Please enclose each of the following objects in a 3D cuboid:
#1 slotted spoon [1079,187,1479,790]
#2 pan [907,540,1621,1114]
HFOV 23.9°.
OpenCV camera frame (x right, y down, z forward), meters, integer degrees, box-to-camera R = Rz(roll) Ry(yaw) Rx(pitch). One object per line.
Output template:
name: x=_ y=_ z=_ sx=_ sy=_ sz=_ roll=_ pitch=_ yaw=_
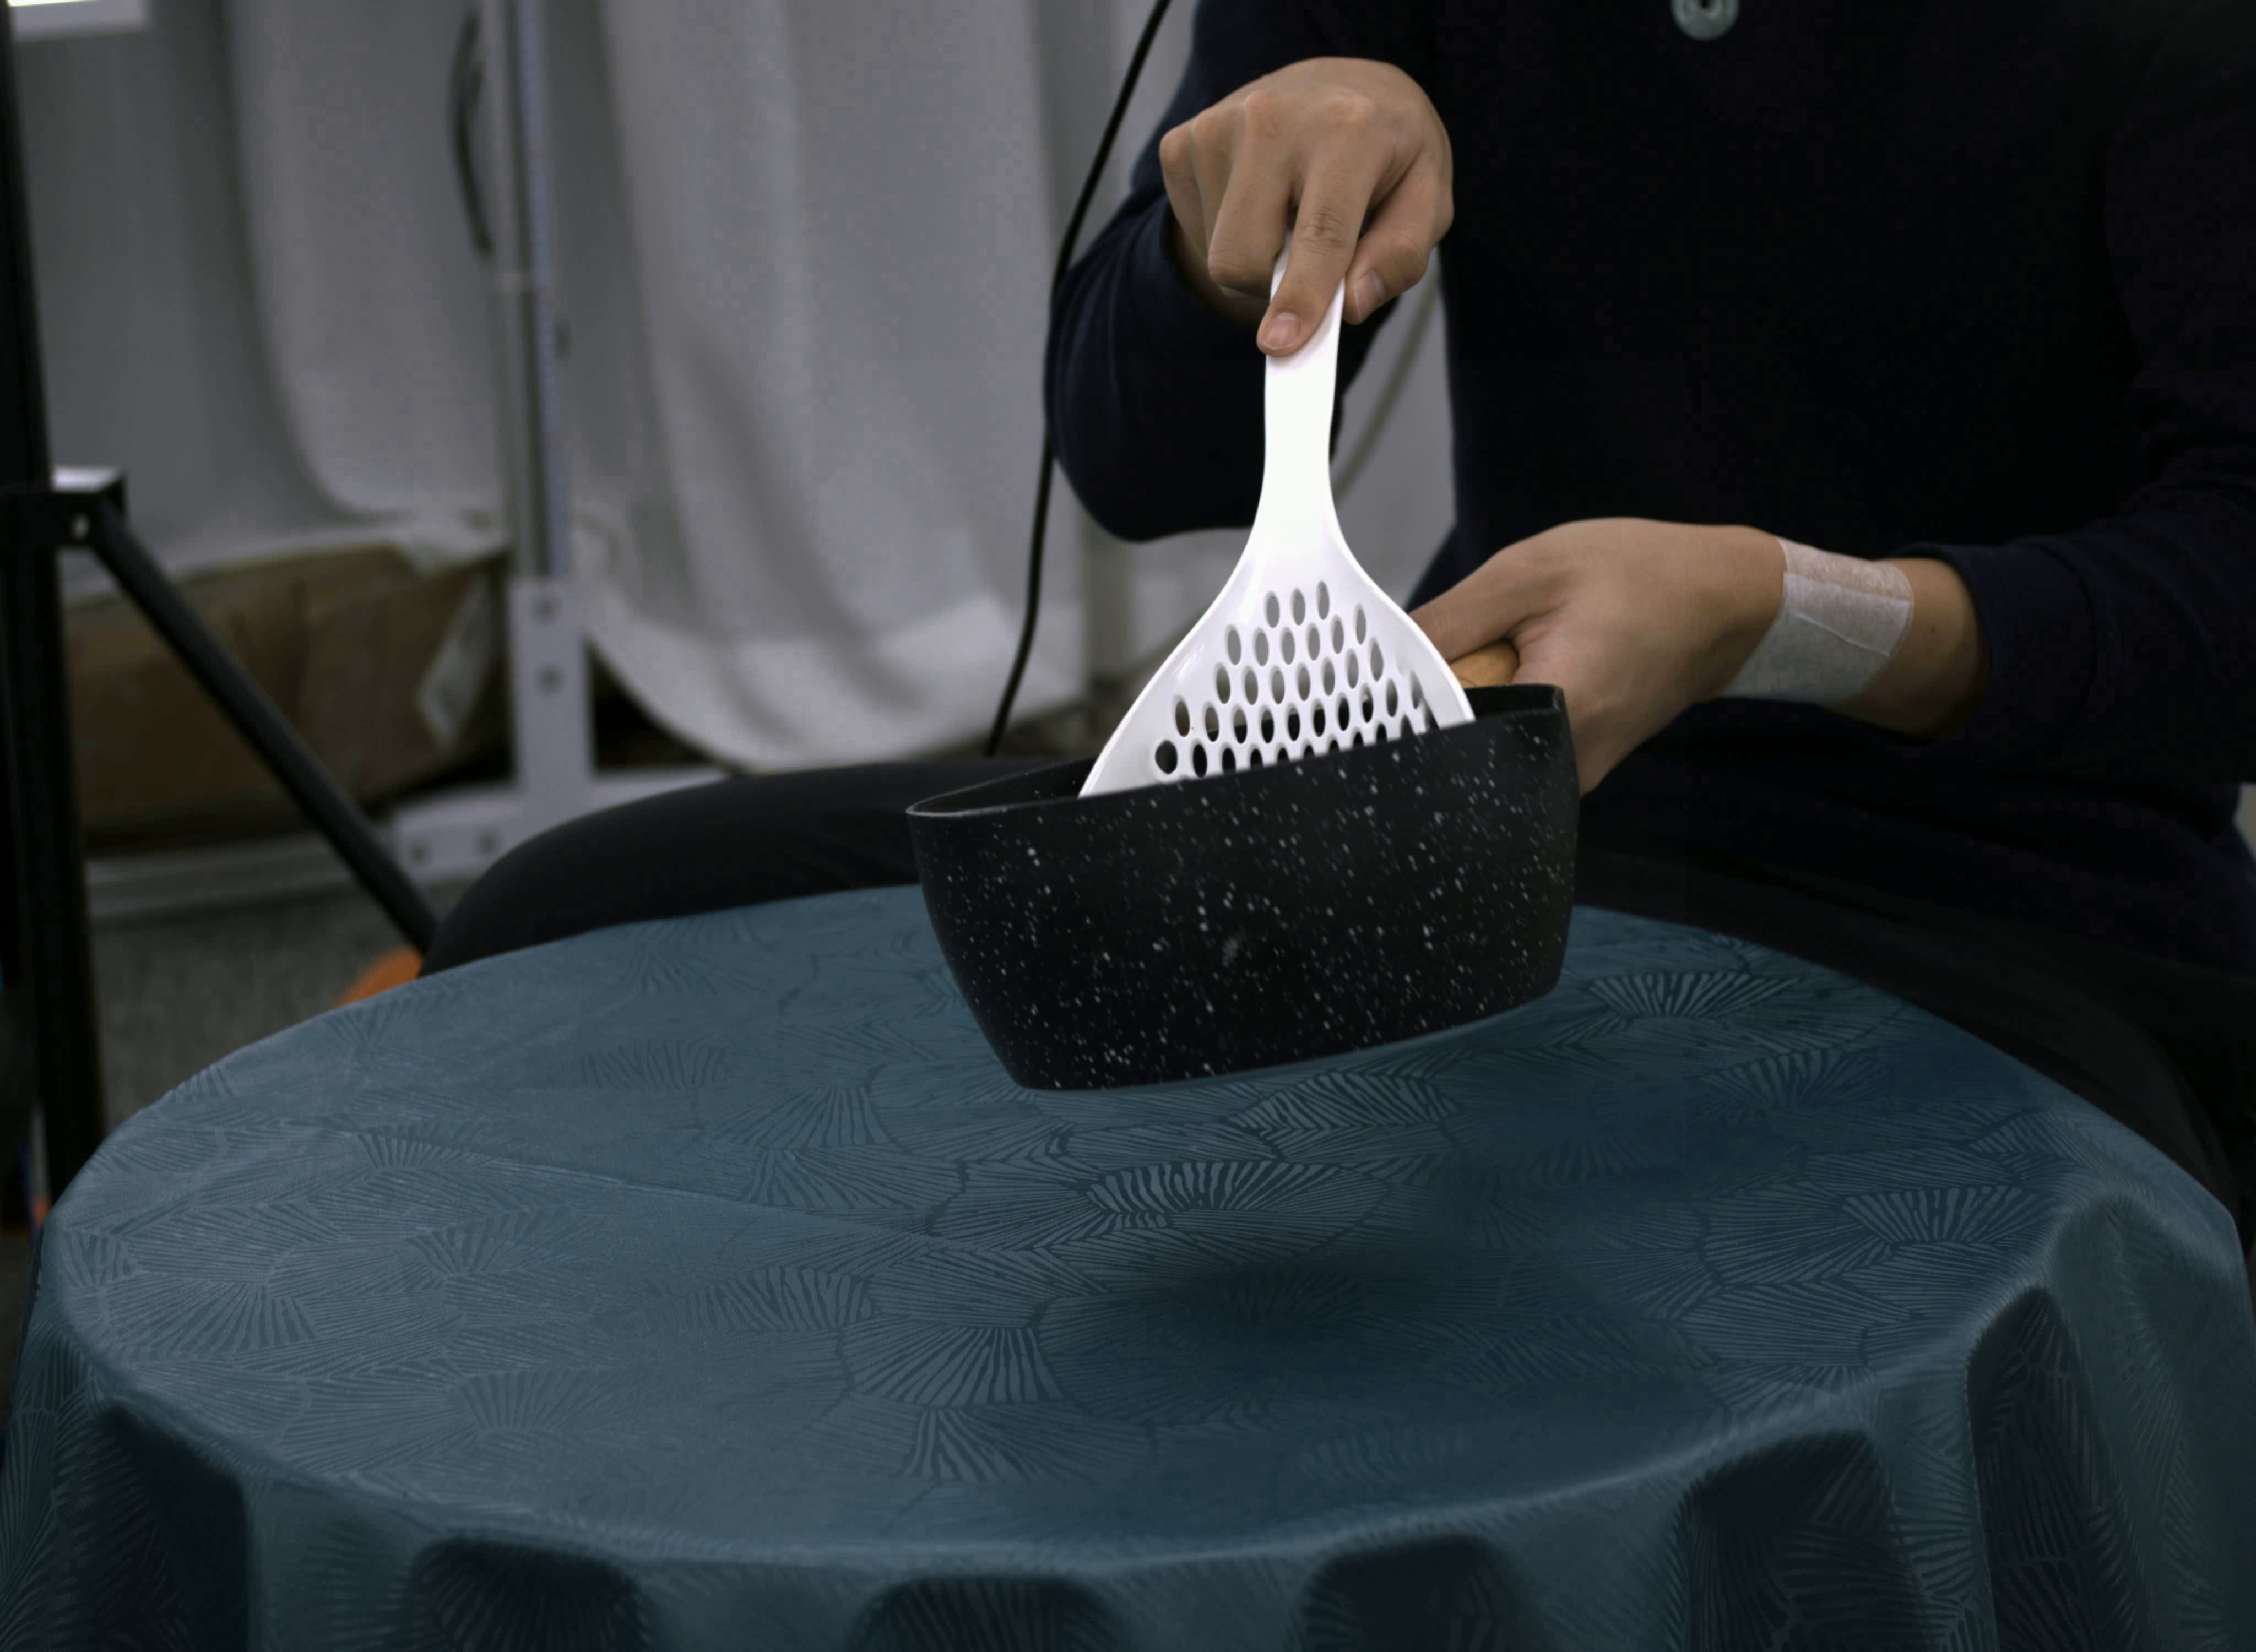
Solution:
slotted spoon: x=0.049 y=-0.072 z=1.558 sx=0.138 sy=0.049 sz=0.351 roll=-13 pitch=51 yaw=20
pan: x=0.071 y=-0.005 z=1.524 sx=0.211 sy=0.108 sz=0.336 roll=-9 pitch=7 yaw=29
